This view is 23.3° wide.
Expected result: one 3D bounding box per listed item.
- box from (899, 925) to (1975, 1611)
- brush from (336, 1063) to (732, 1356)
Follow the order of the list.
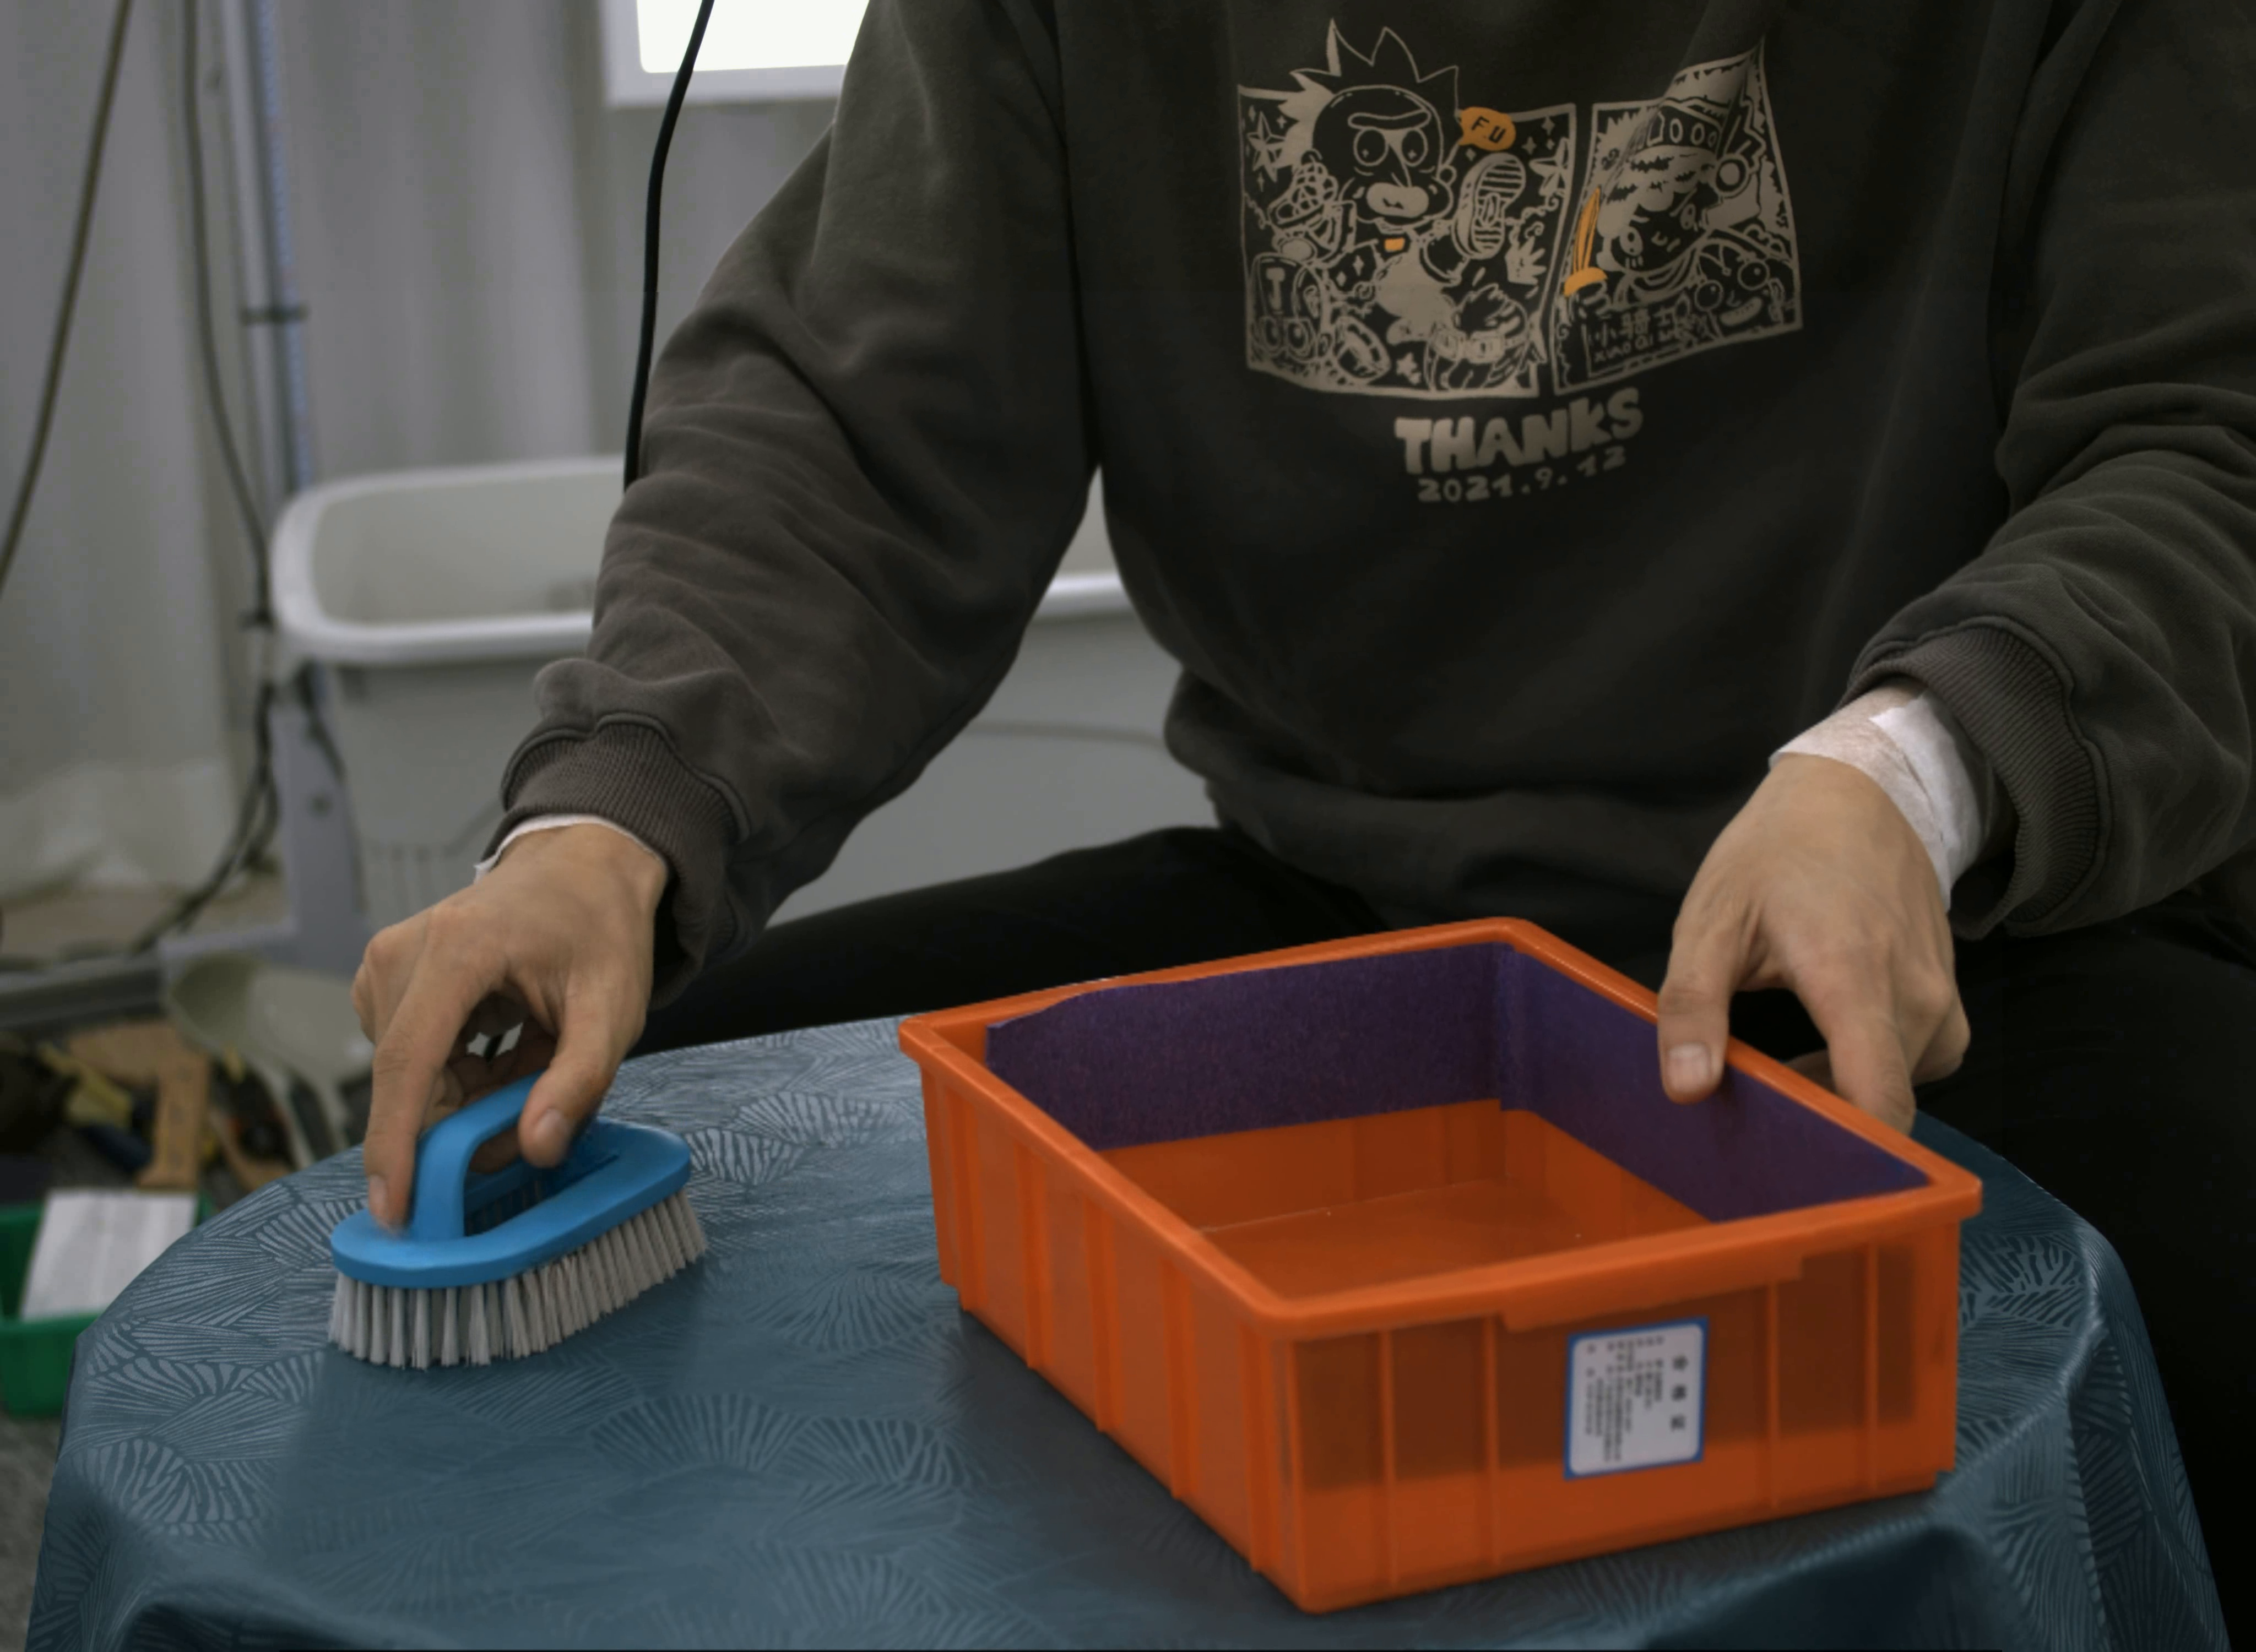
[{"bbox_3d":[0.079,0.118,1.532,0.205,0.096,0.306,-8,16,-19],"label":"box"},{"bbox_3d":[-0.182,0.110,1.651,0.084,0.063,0.142,1,13,31],"label":"brush"}]
